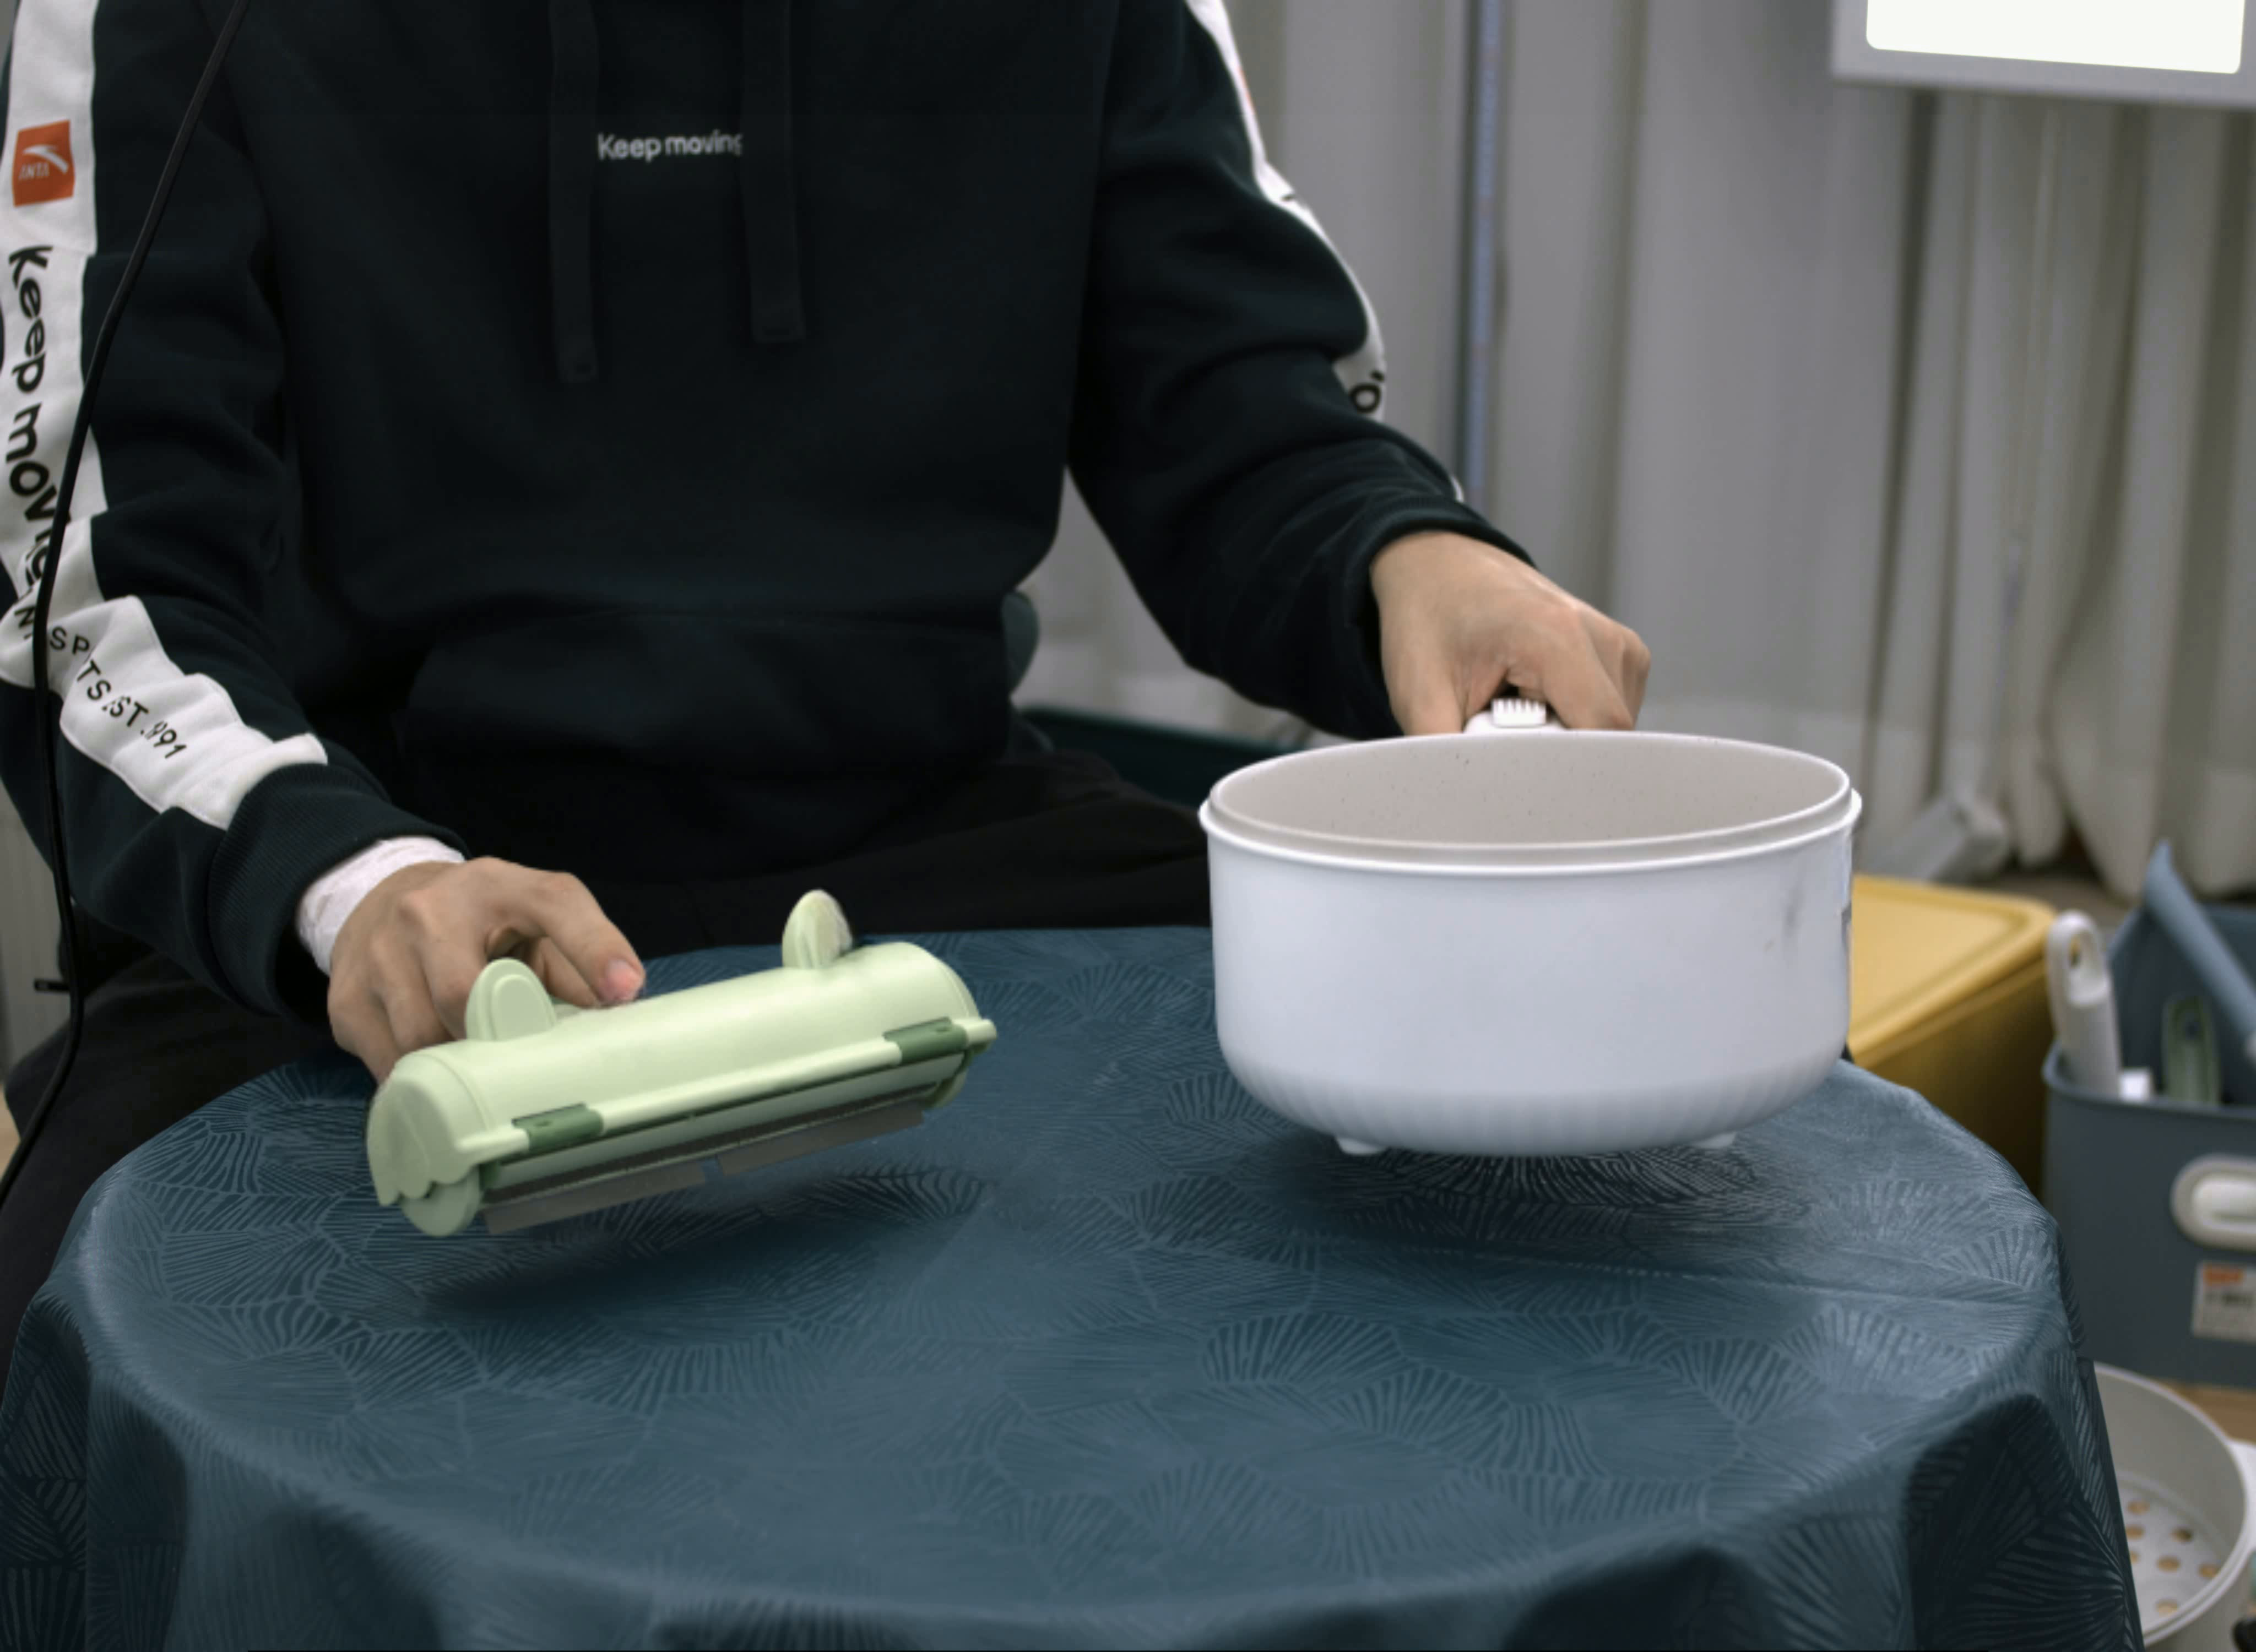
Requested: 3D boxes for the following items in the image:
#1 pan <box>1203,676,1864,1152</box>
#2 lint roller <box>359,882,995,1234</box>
[{"bbox_3d":[0.129,0.024,1.683,0.200,0.103,0.354,-1,10,4],"label":"pan"},{"bbox_3d":[-0.169,0.054,1.596,0.199,0.083,0.181,-13,24,-40],"label":"lint roller"}]
